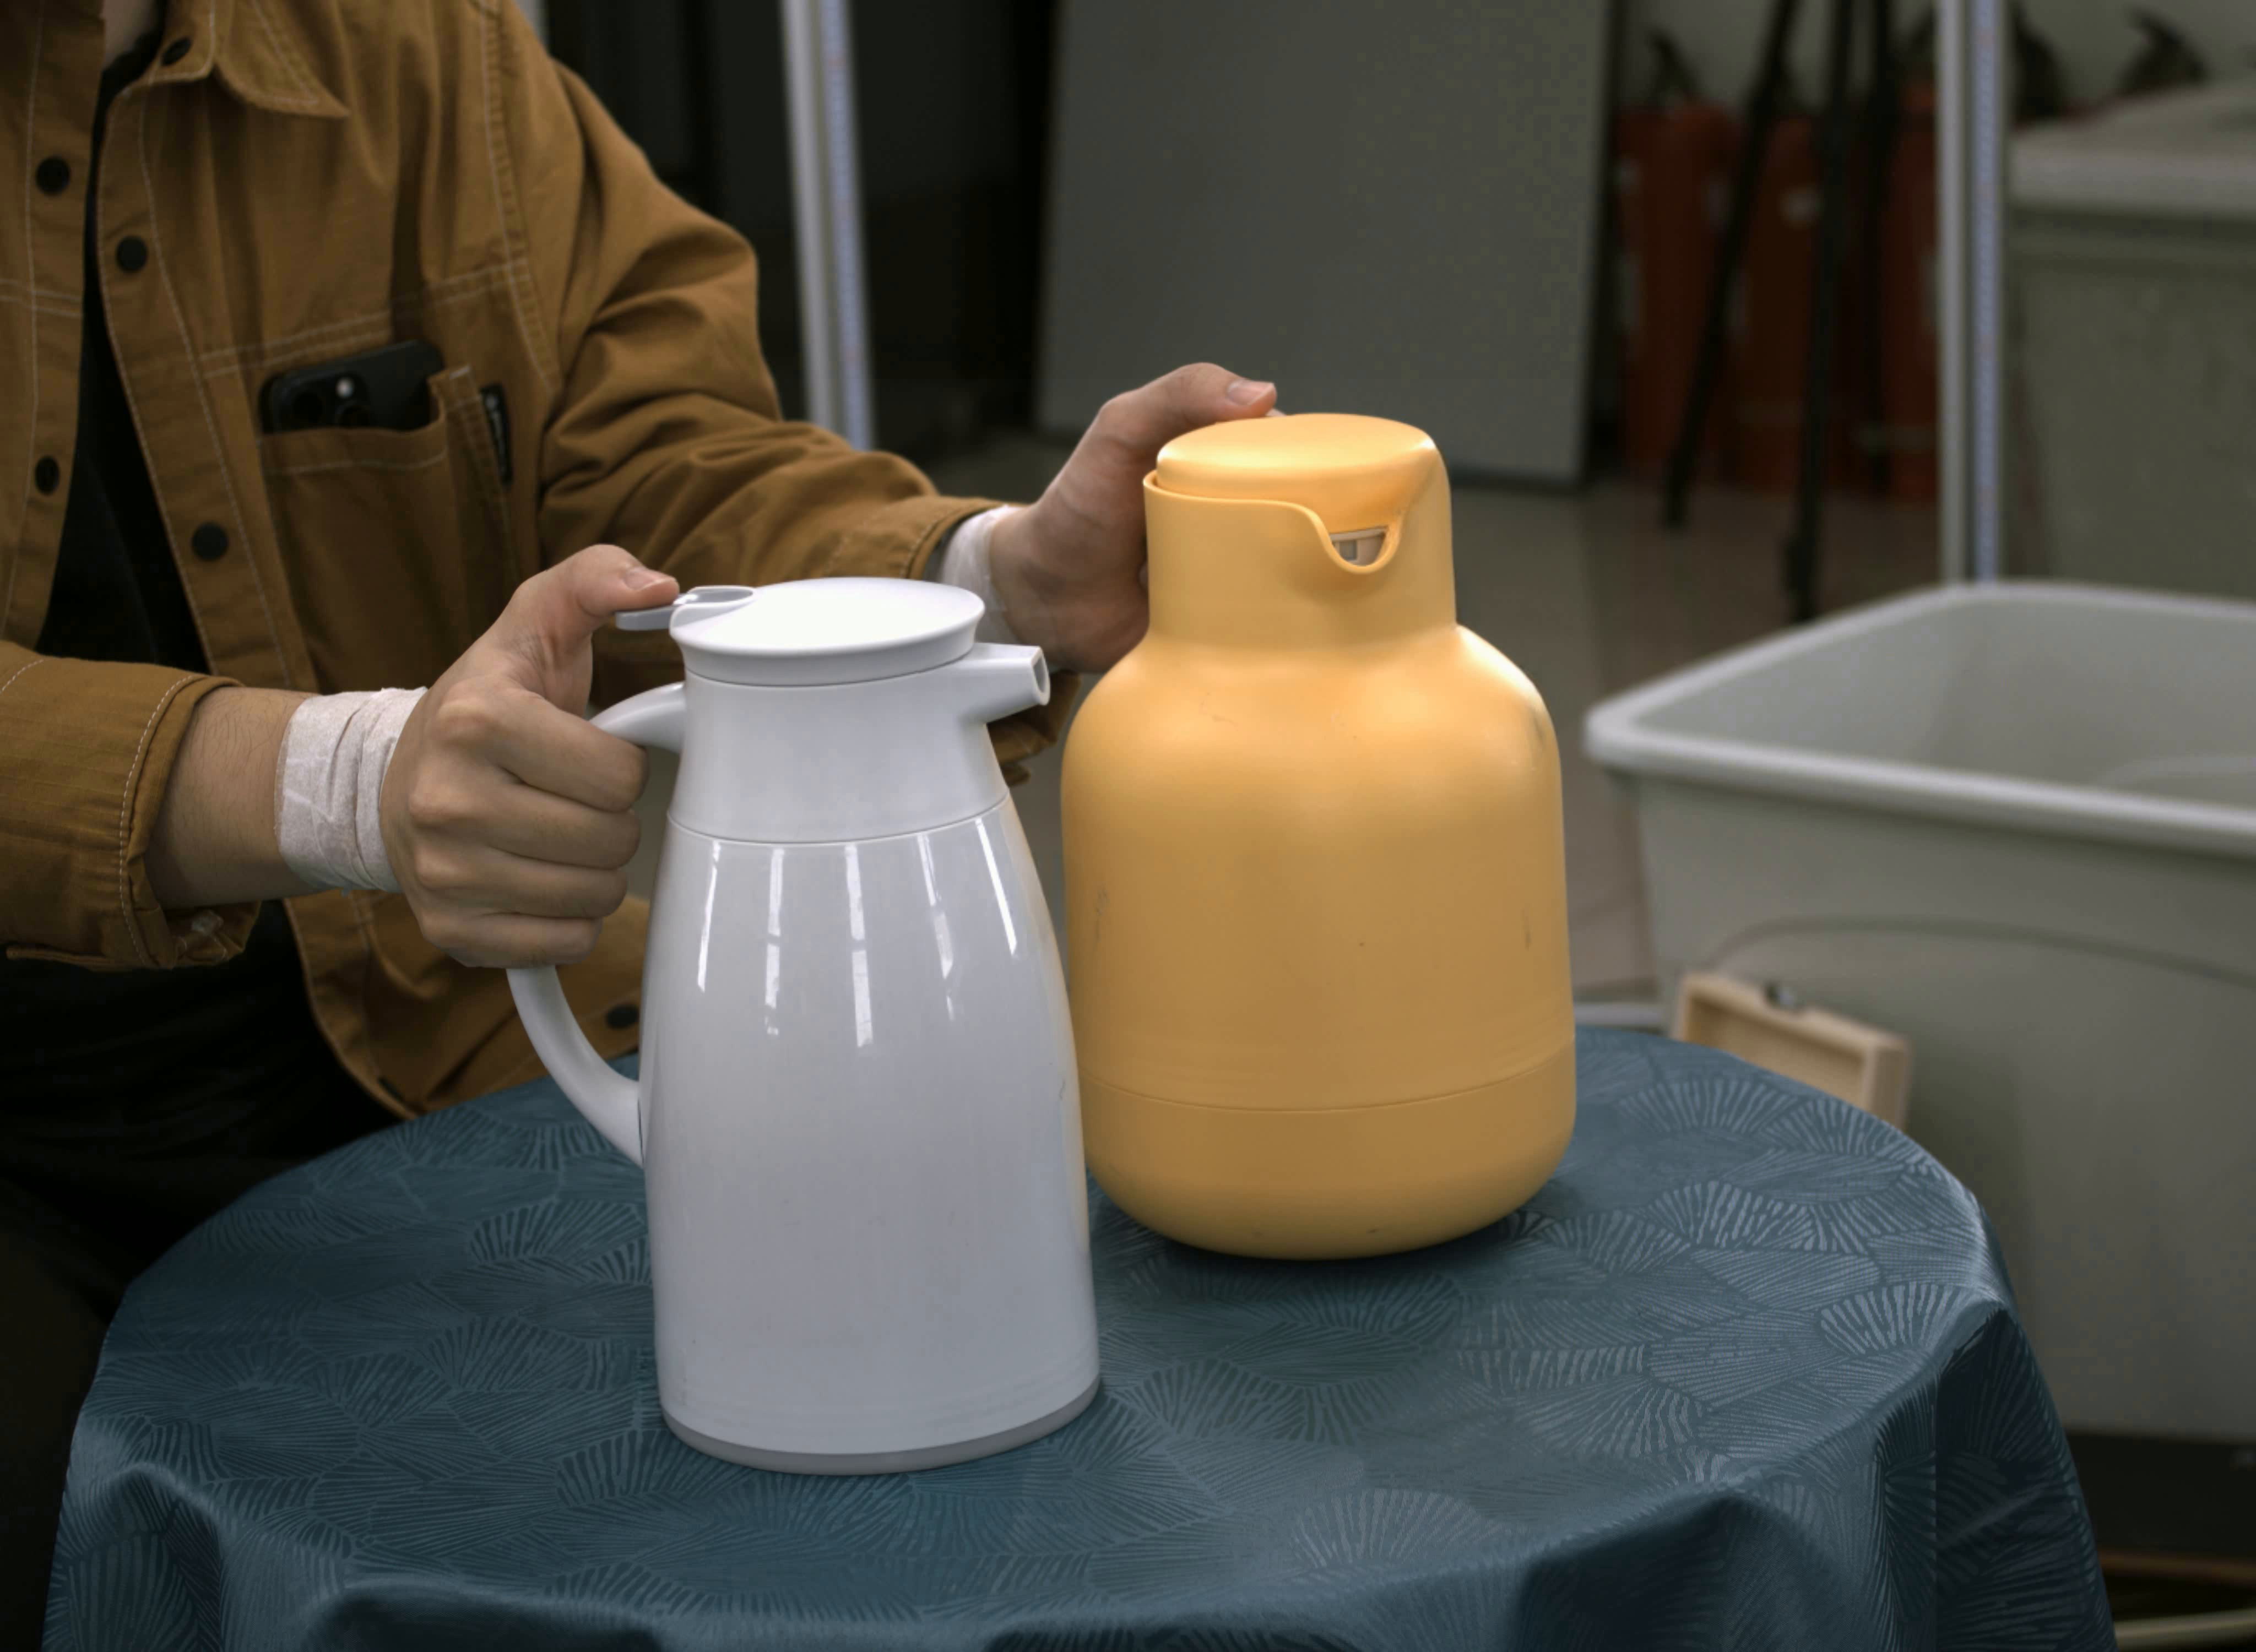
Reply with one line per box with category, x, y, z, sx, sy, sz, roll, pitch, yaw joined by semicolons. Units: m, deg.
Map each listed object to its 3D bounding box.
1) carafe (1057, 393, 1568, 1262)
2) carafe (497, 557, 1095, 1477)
carafe;0.054;-0.008;1.730;0.160;0.263;0.204;-5;15;-11
carafe;-0.099;0.049;1.572;0.166;0.251;0.132;-2;14;10
